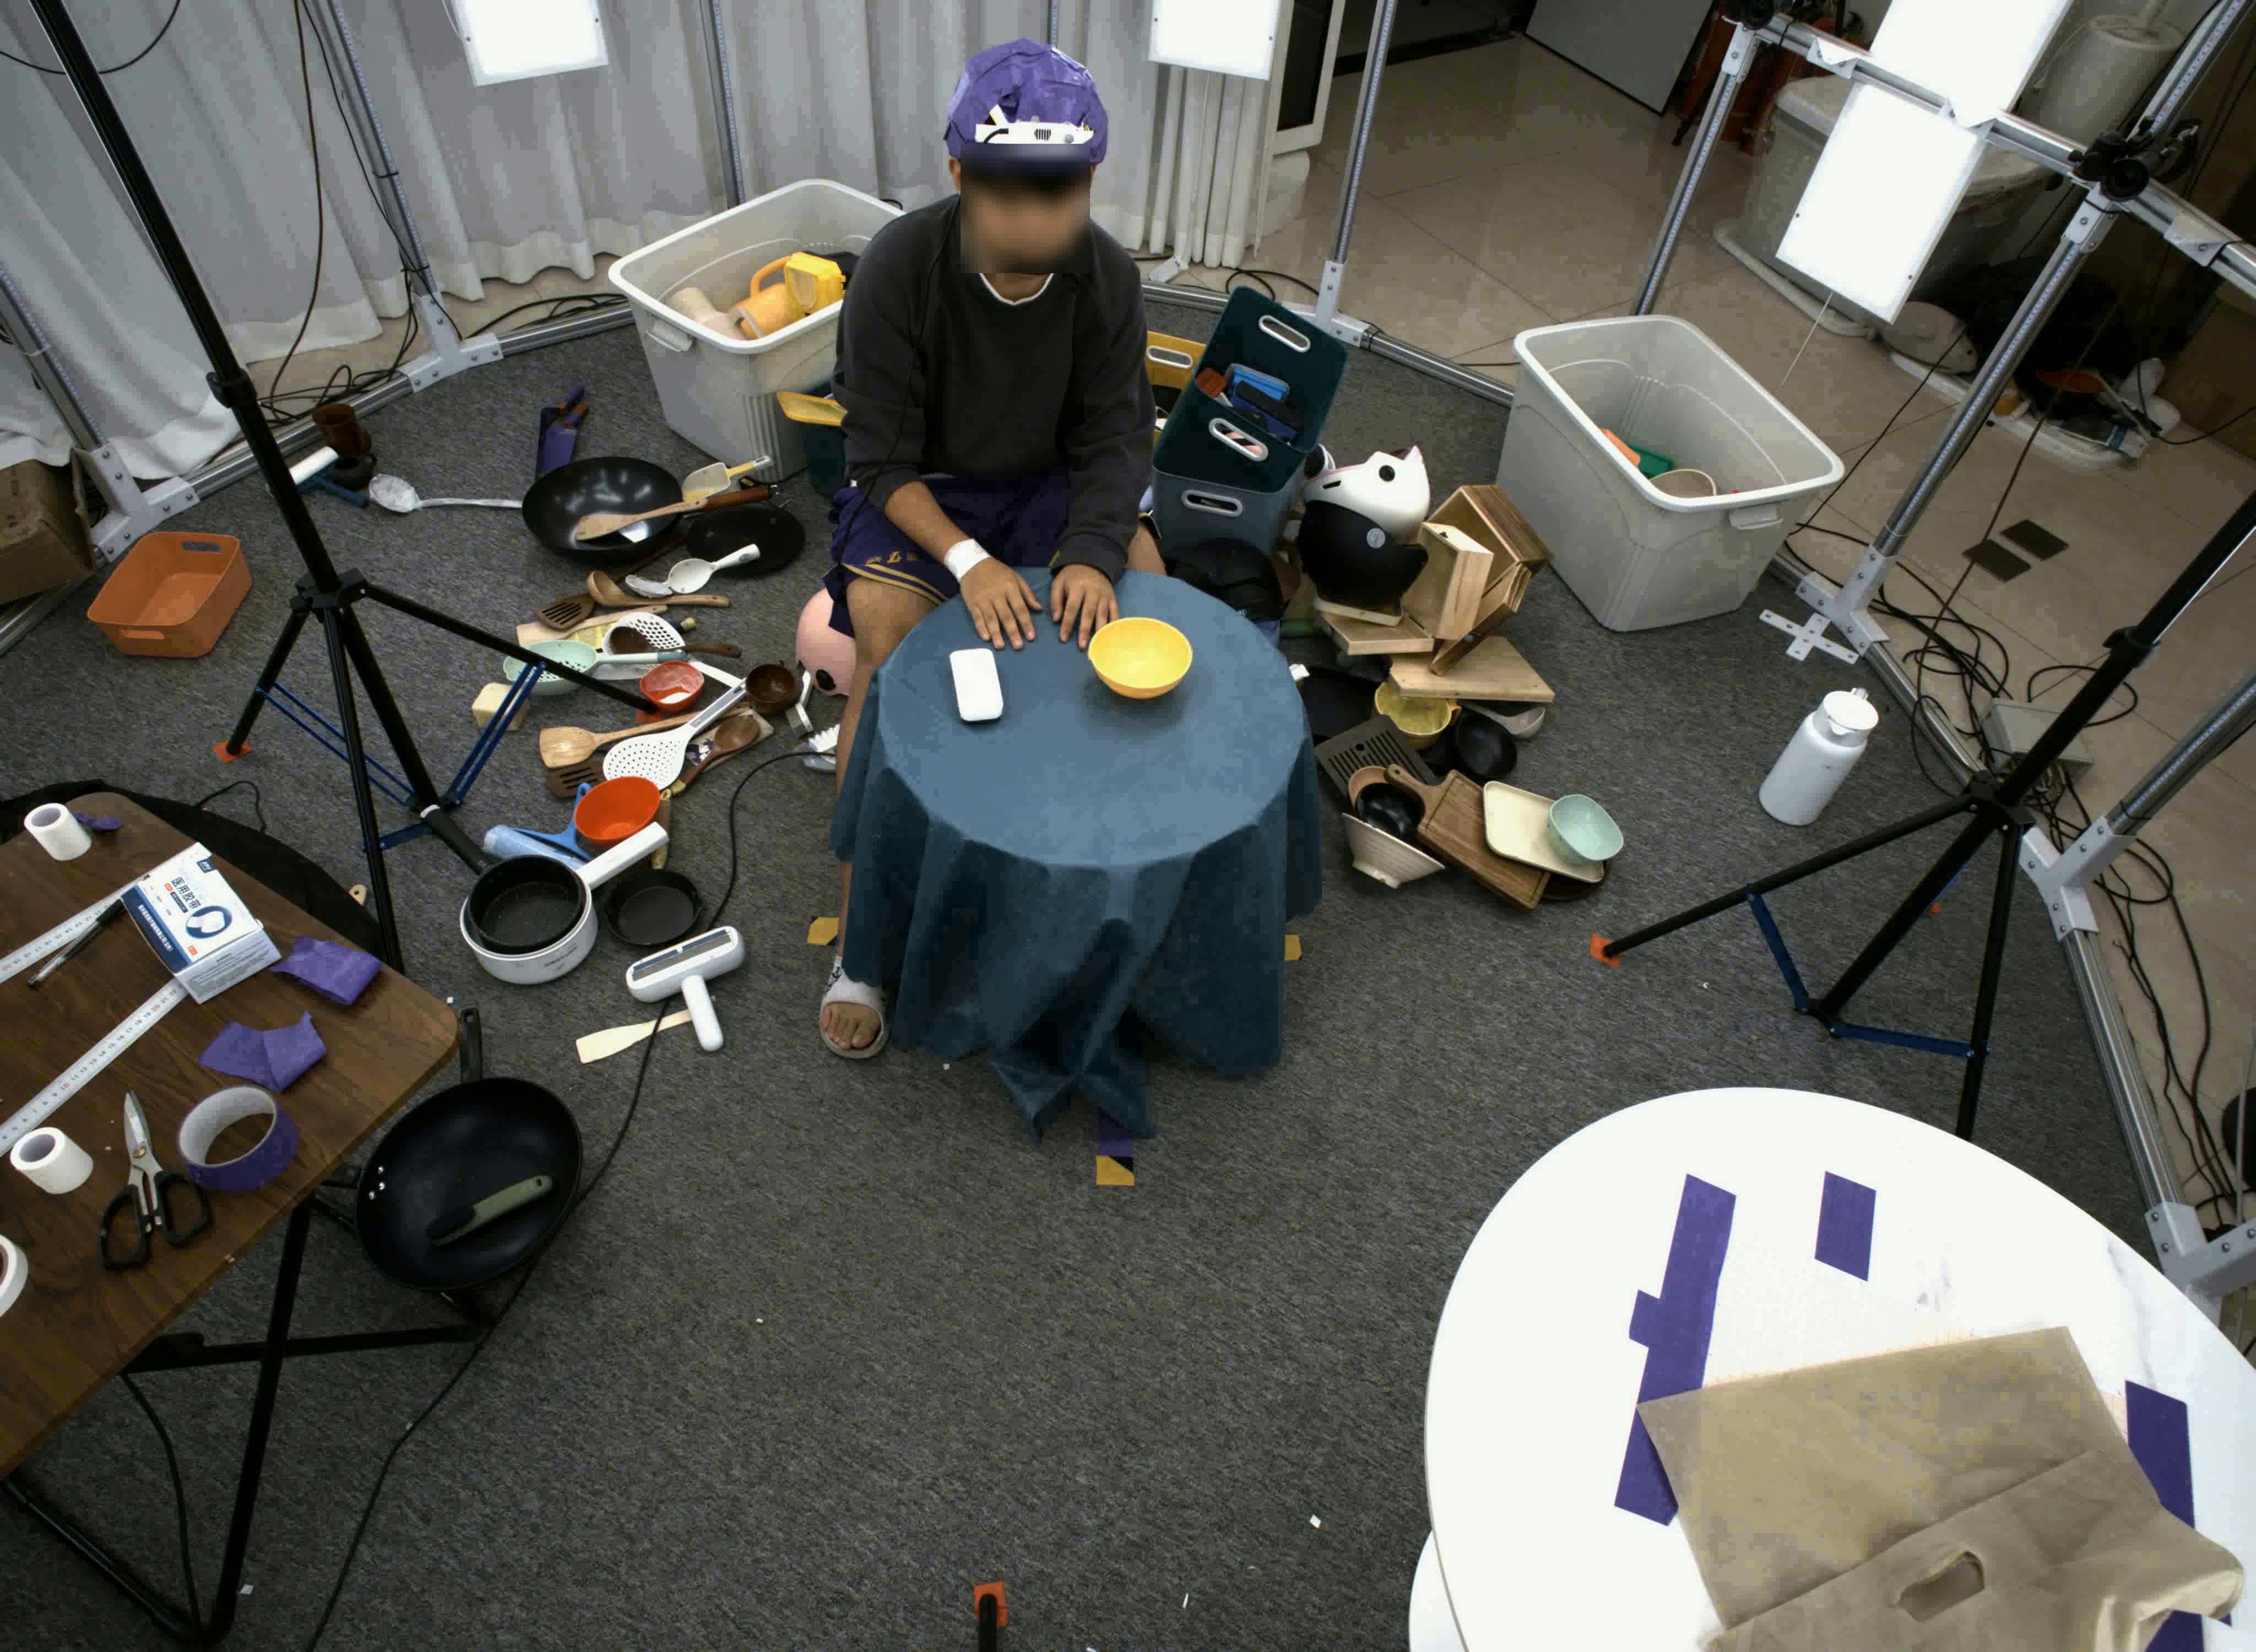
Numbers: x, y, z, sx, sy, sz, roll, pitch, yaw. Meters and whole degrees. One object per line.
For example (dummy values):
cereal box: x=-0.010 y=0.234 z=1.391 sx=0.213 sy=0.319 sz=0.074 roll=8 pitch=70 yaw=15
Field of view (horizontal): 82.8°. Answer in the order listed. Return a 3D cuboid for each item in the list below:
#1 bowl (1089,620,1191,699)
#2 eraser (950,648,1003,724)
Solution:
bowl: x=0.016 y=-0.226 z=1.829 sx=0.145 sy=0.058 sz=0.149 roll=2 pitch=46 yaw=-3
eraser: x=-0.212 y=-0.200 z=1.805 sx=0.063 sy=0.034 sz=0.134 roll=-6 pitch=51 yaw=-10
